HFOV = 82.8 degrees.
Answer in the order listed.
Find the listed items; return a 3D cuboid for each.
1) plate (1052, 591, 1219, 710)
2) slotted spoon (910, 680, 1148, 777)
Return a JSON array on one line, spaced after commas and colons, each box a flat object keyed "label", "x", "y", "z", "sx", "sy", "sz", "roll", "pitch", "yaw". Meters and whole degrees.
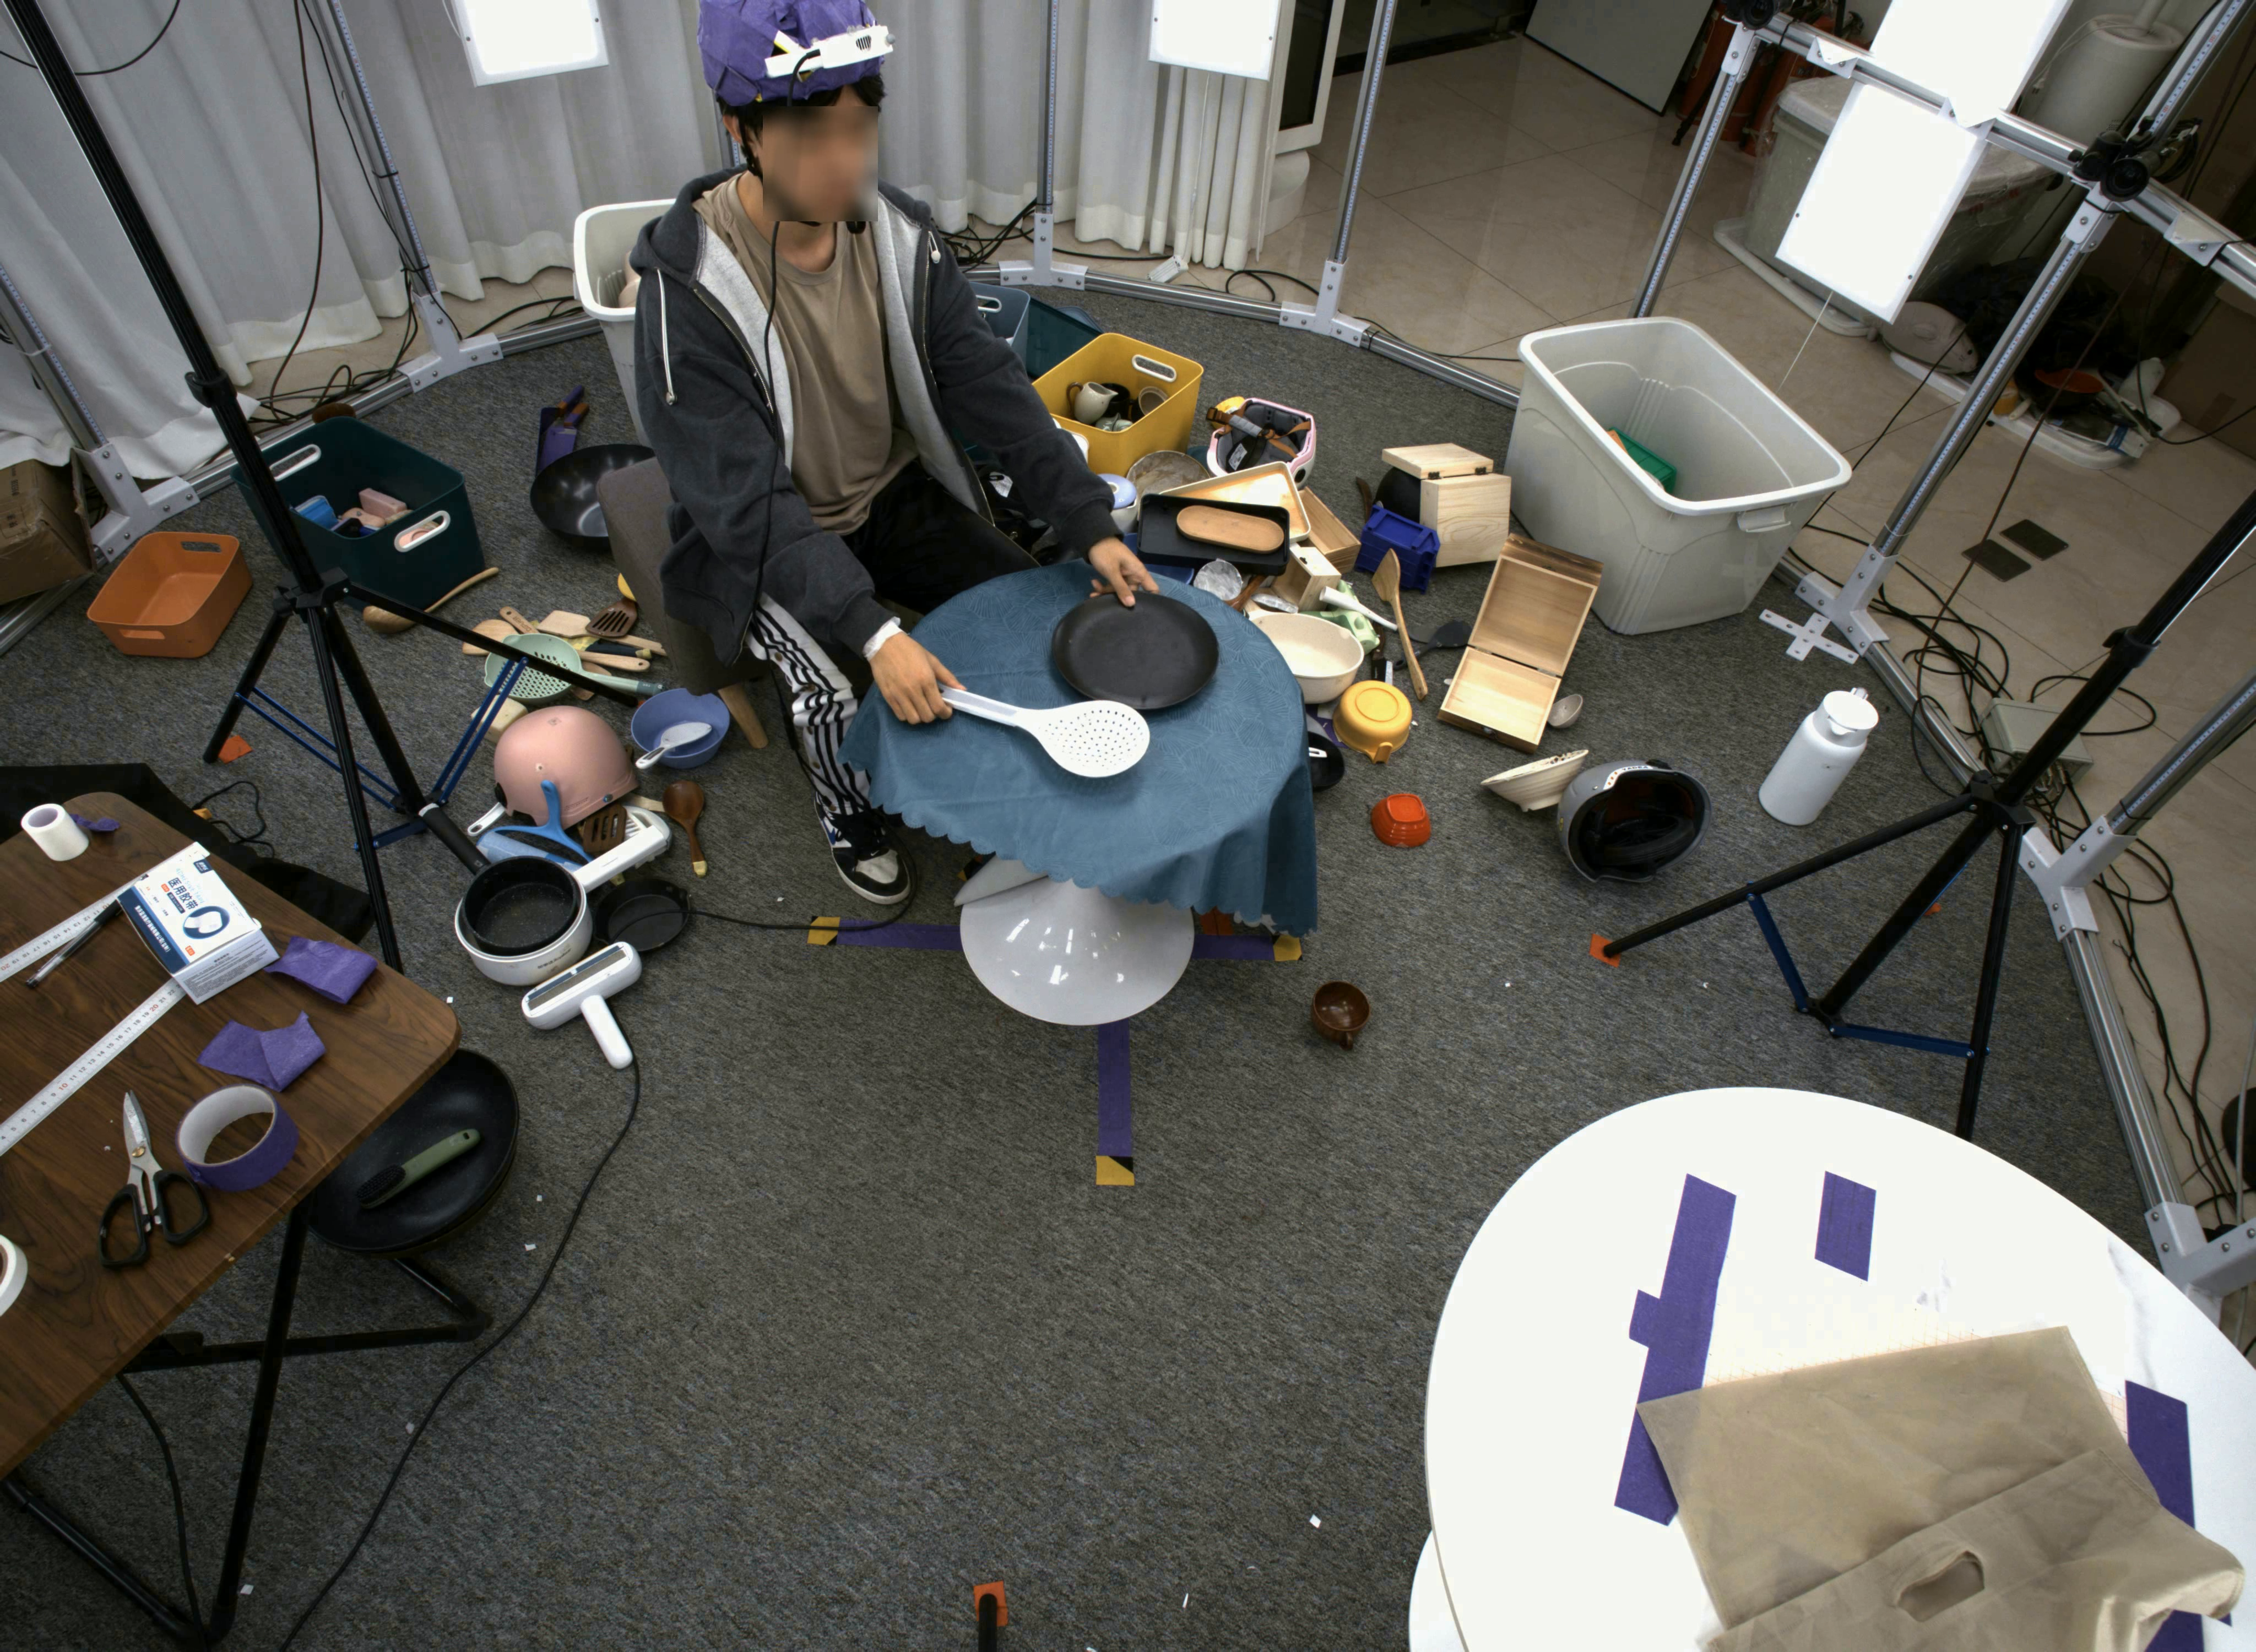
[{"label": "plate", "x": 0.010, "y": -0.253, "z": 1.868, "sx": 0.244, "sy": 0.023, "sz": 0.250, "roll": 2, "pitch": 51, "yaw": -2}, {"label": "slotted spoon", "x": -0.139, "y": -0.144, "z": 1.751, "sx": 0.351, "sy": 0.044, "sz": 0.138, "roll": 19, "pitch": 52, "yaw": 14}]
